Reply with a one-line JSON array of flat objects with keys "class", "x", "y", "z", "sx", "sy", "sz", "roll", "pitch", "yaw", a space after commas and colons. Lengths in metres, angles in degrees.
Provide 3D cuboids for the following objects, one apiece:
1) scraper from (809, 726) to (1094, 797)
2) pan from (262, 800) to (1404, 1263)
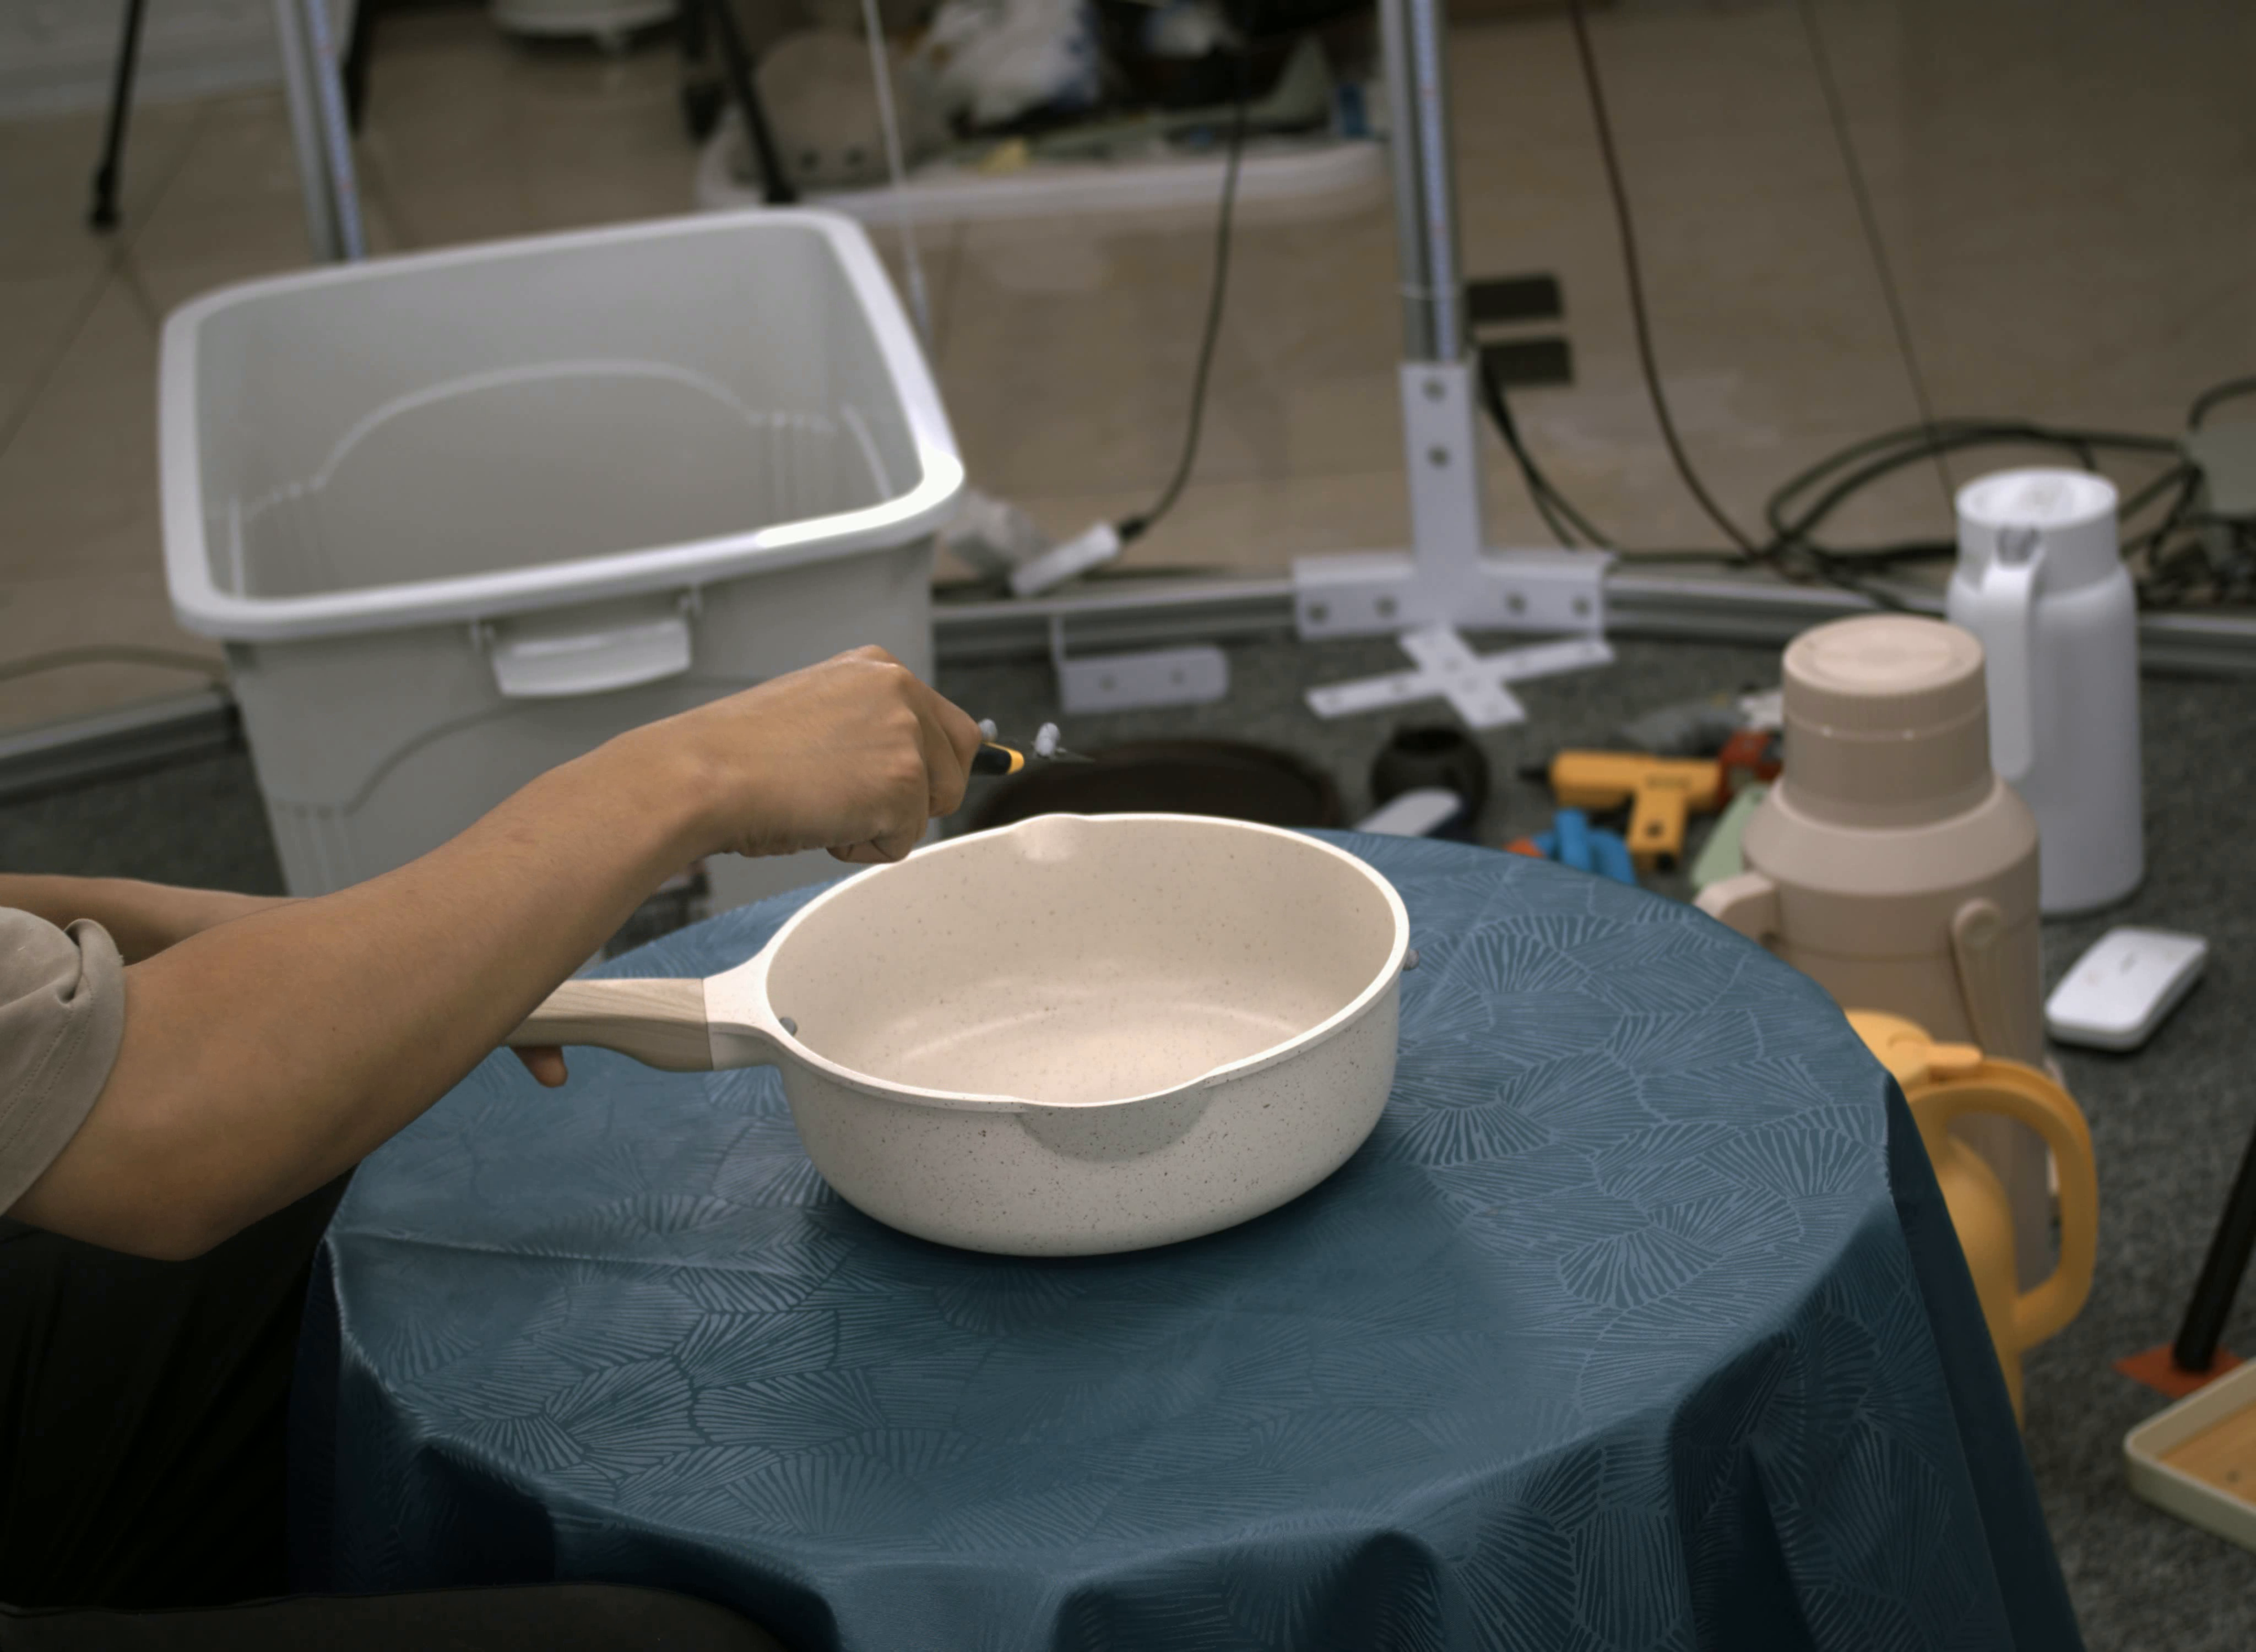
[{"class": "scraper", "x": -0.065, "y": -0.025, "z": 2.070, "sx": 0.038, "sy": 0.015, "sz": 0.170, "roll": 25, "pitch": 14, "yaw": 24}, {"class": "pan", "x": -0.107, "y": 0.089, "z": 2.173, "sx": 0.434, "sy": 0.104, "sz": 0.259, "roll": -8, "pitch": 28, "yaw": -4}]
